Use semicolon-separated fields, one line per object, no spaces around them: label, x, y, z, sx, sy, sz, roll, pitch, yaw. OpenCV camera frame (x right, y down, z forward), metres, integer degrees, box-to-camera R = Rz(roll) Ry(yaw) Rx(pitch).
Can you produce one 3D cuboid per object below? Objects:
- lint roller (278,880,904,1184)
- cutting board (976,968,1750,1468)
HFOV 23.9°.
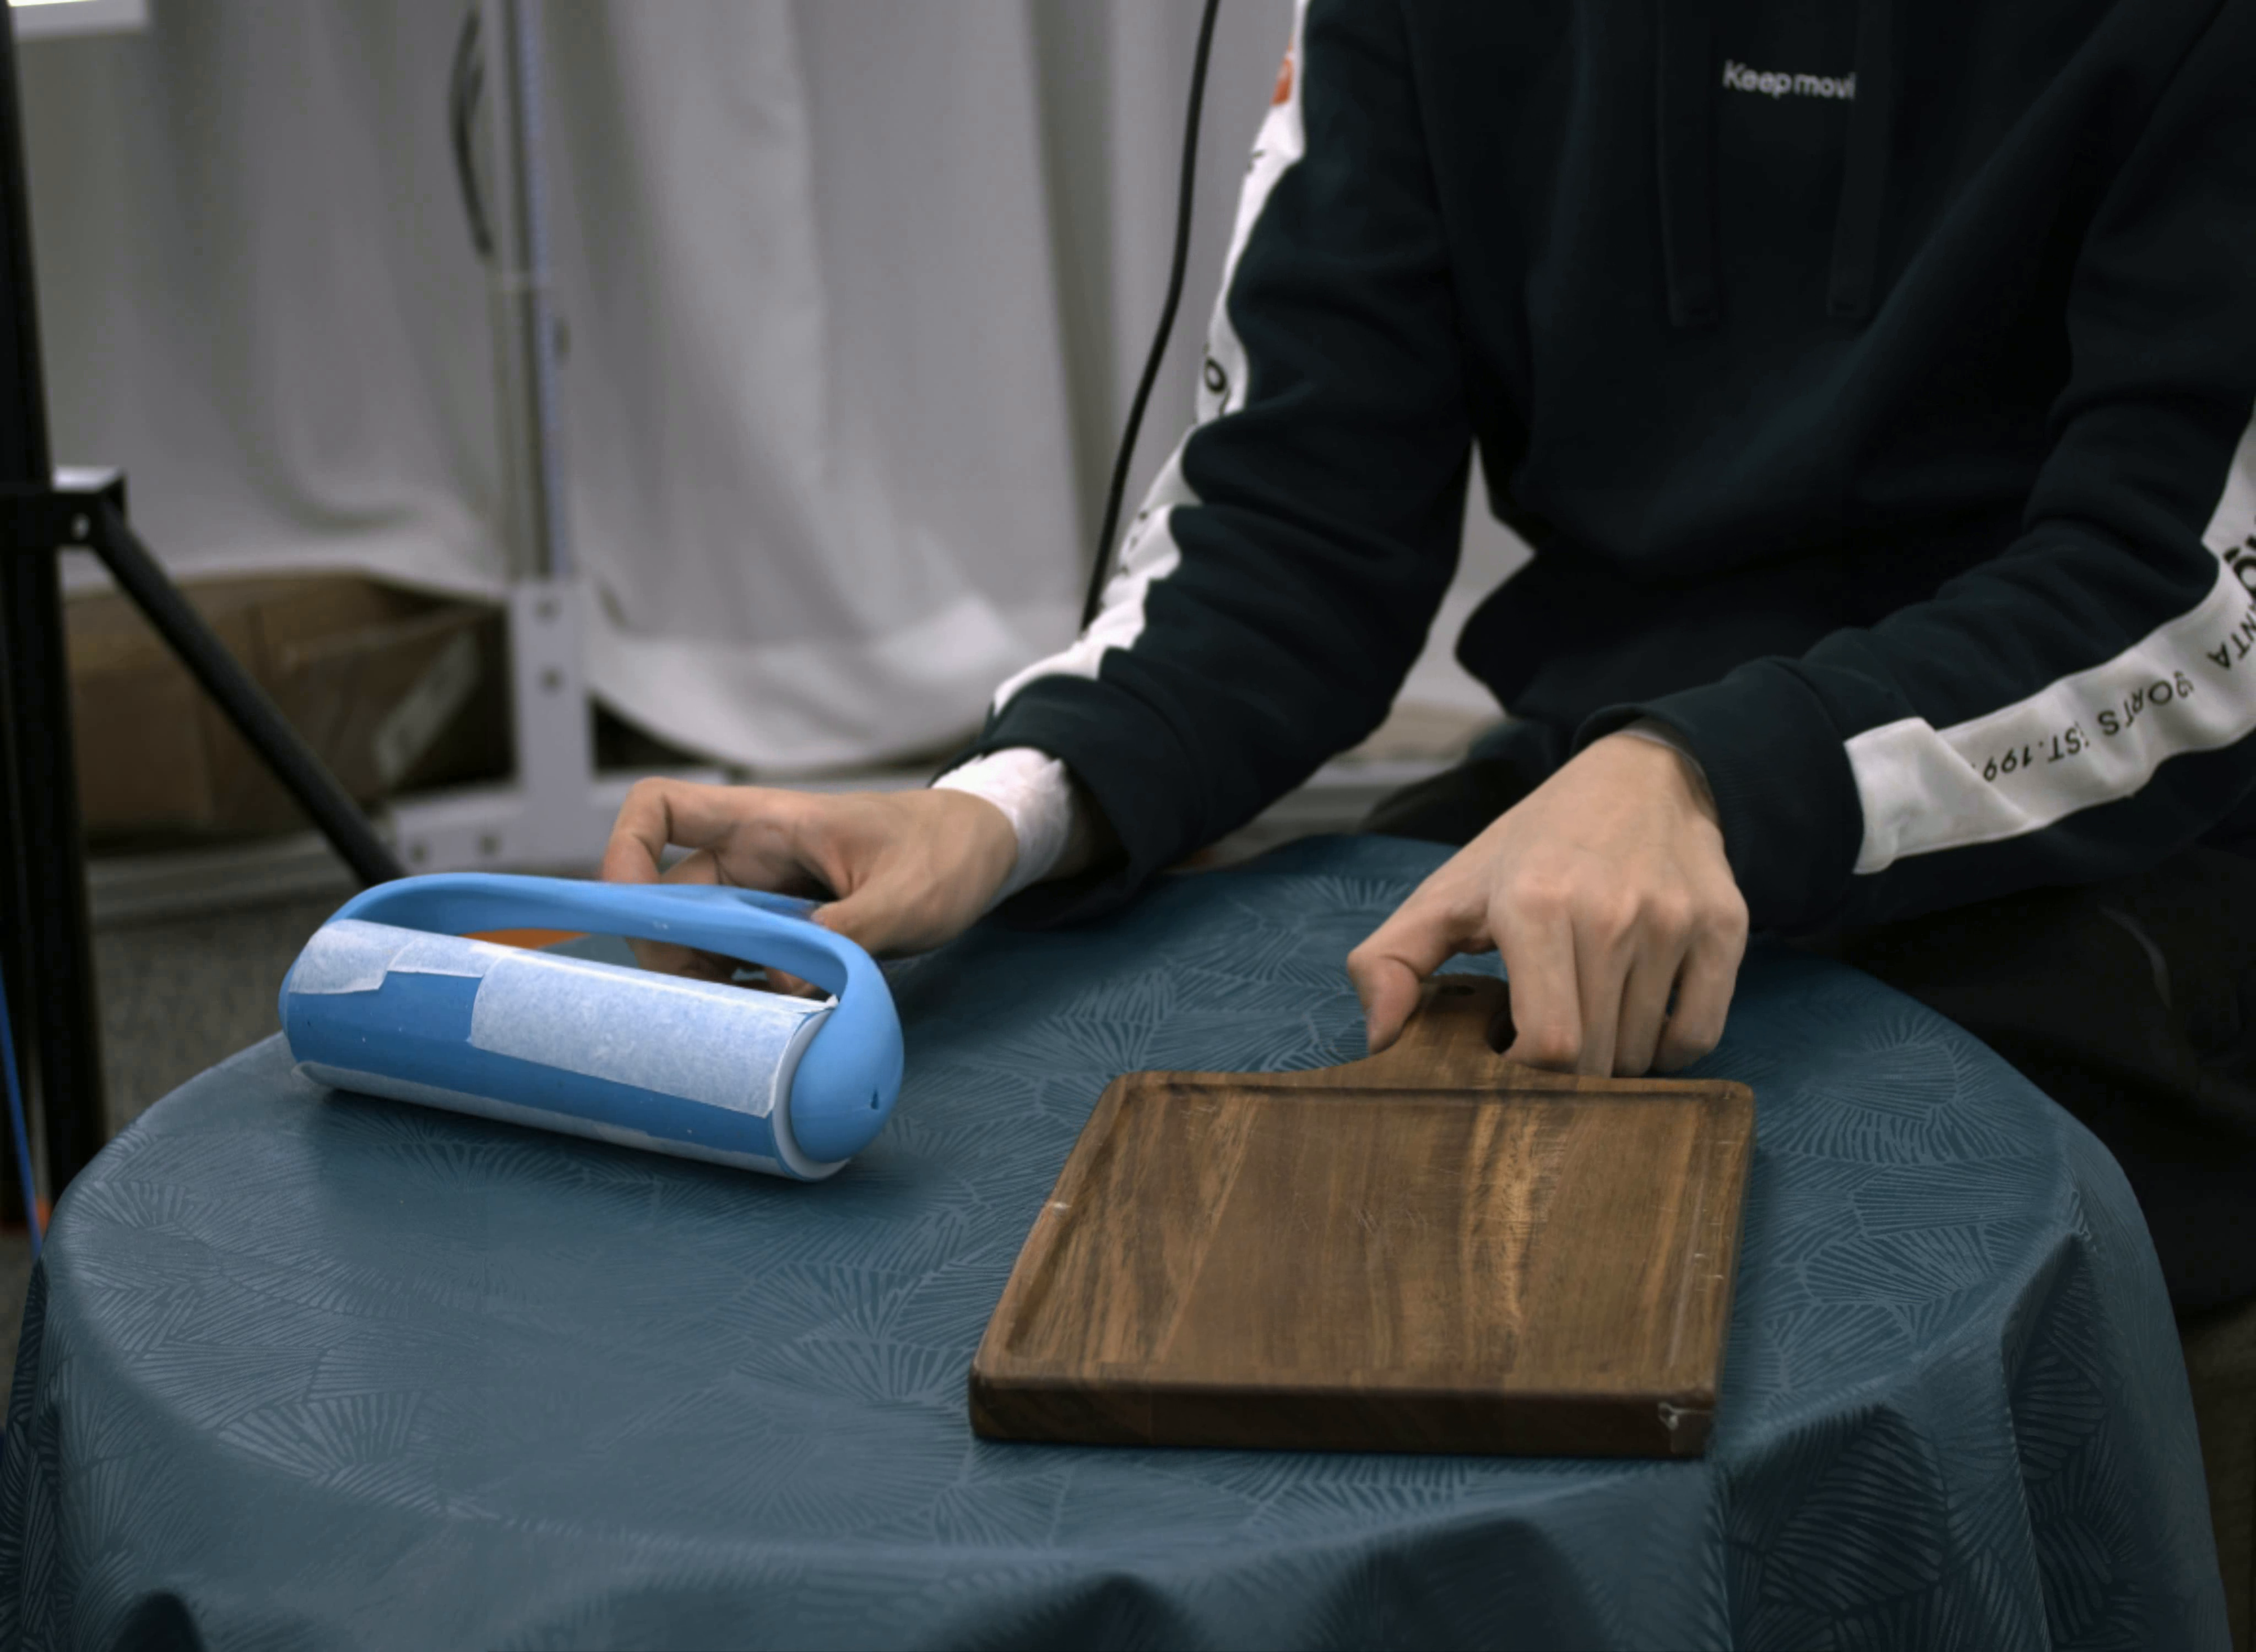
lint roller;-0.138;0.051;1.677;0.233;0.068;0.177;6;19;32
cutting board;0.079;0.104;1.516;0.201;0.023;0.351;1;16;9
